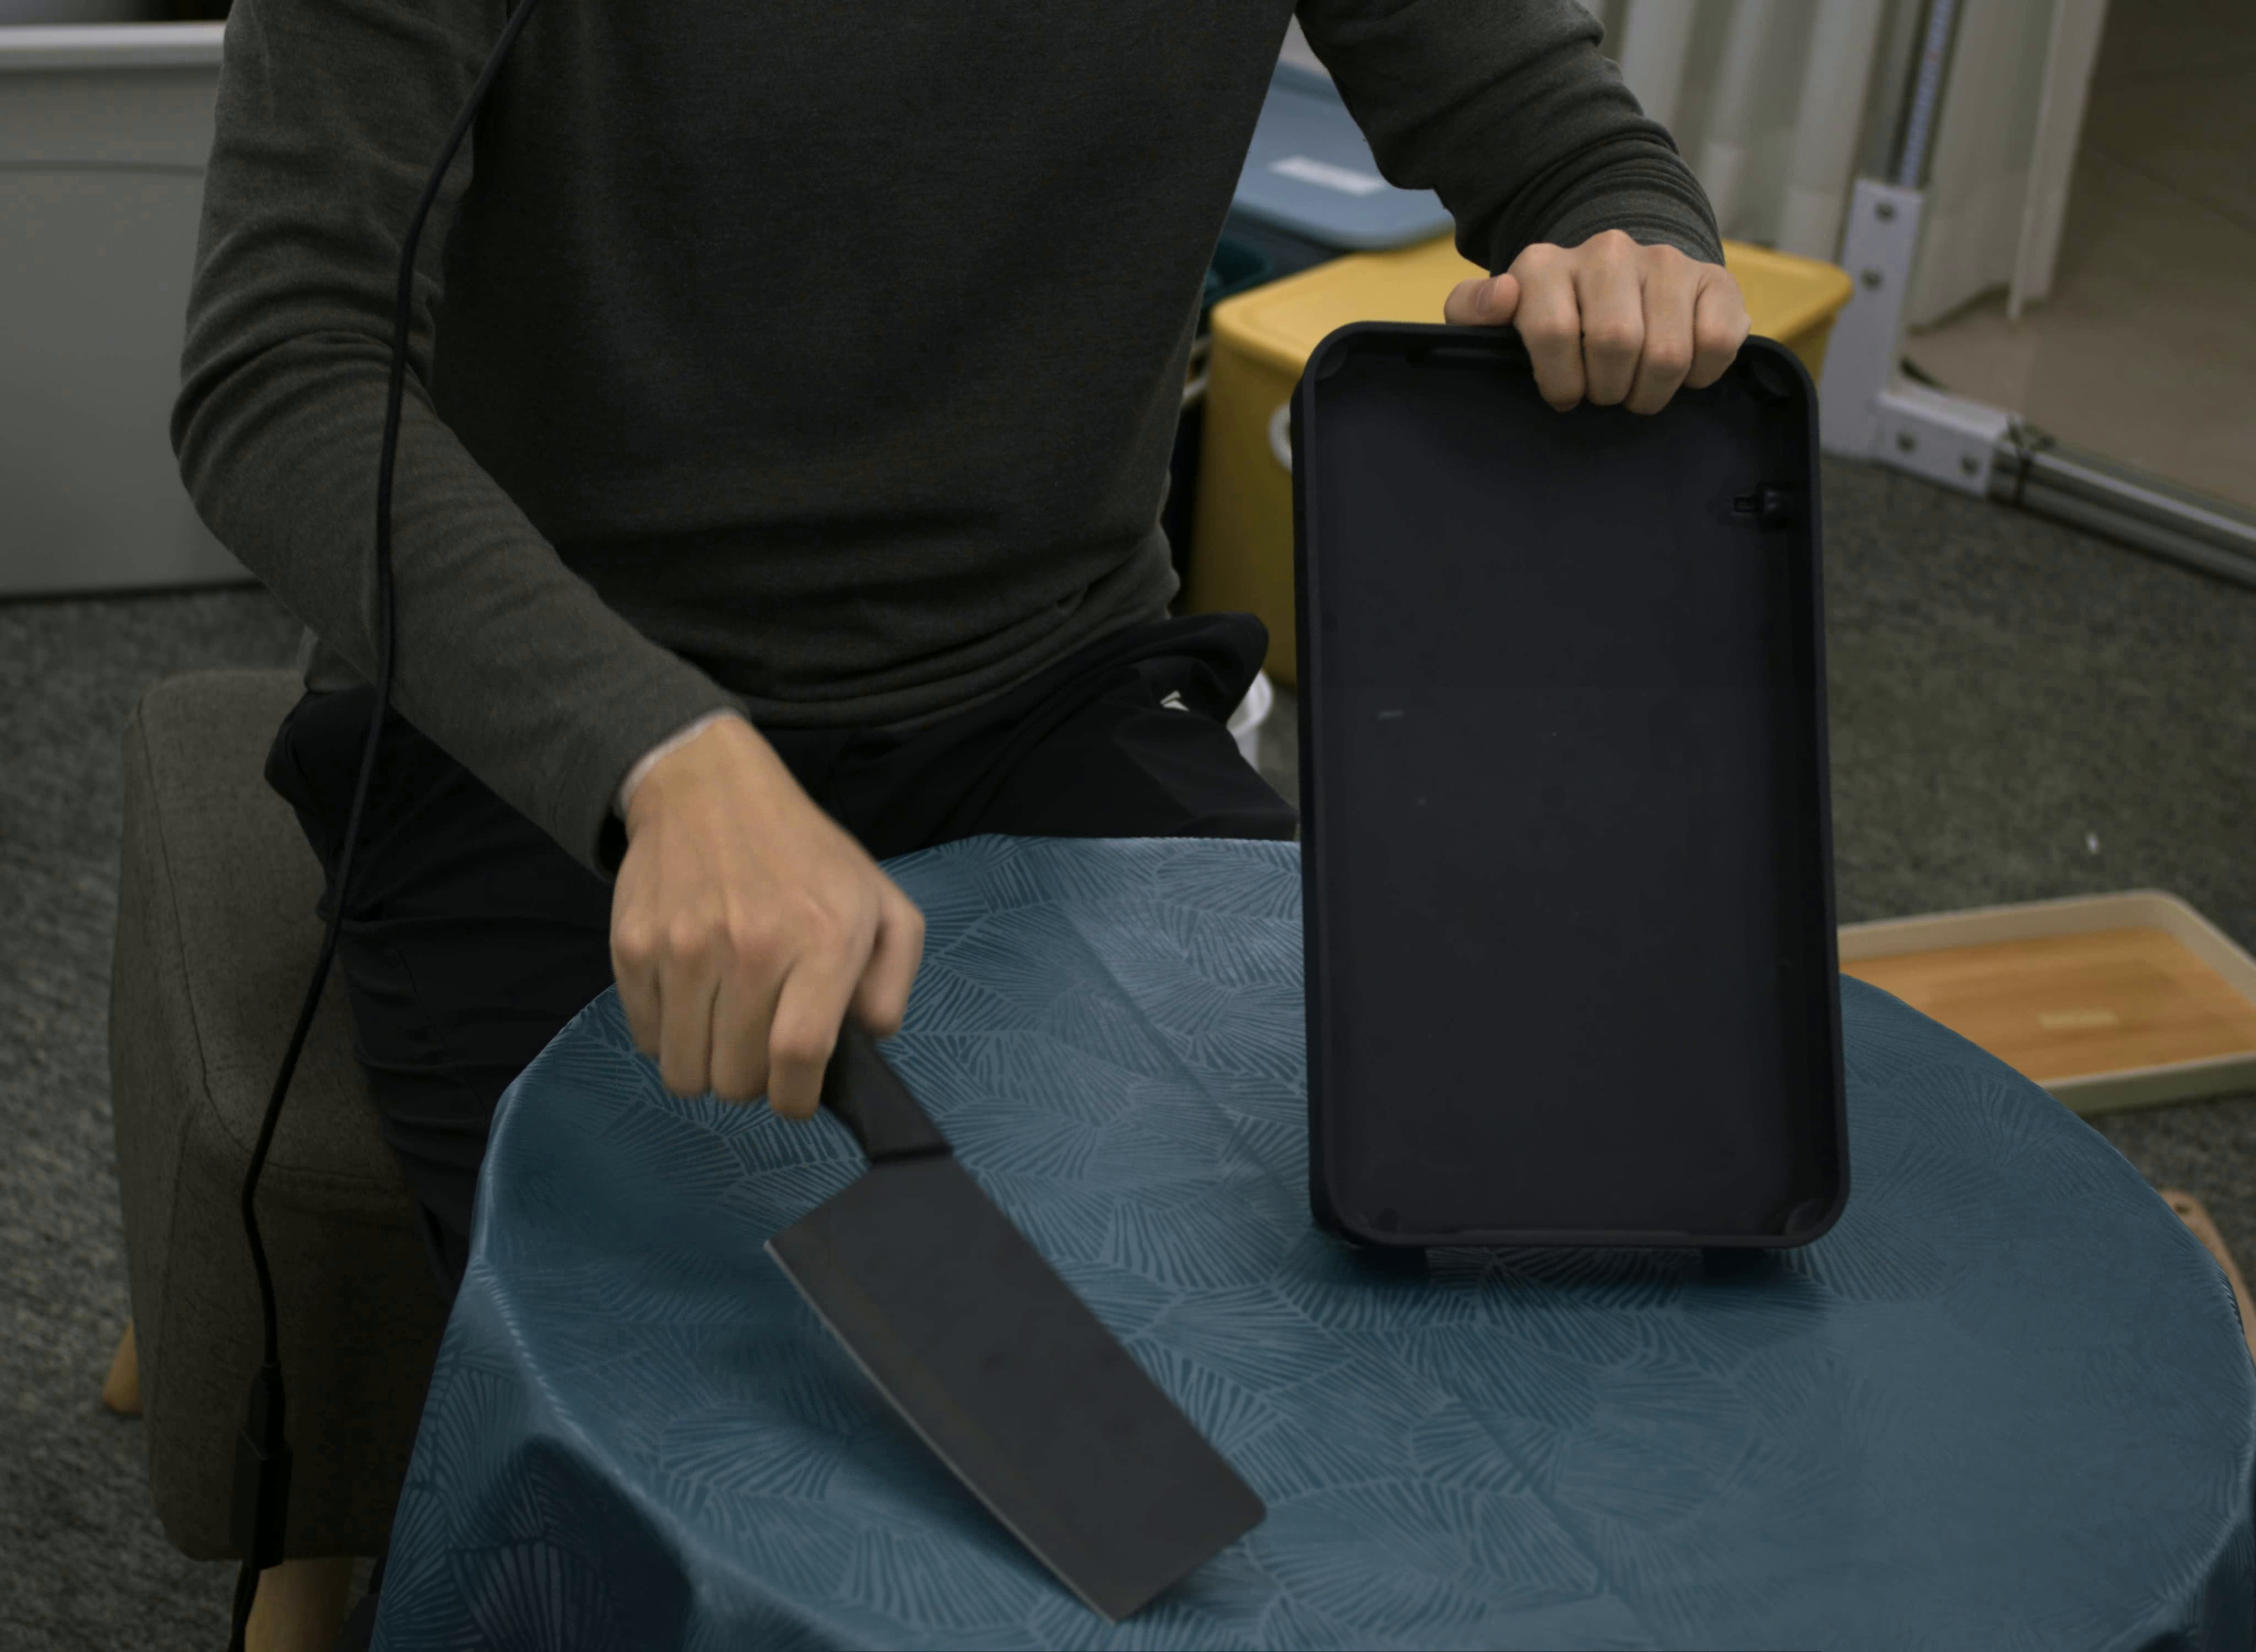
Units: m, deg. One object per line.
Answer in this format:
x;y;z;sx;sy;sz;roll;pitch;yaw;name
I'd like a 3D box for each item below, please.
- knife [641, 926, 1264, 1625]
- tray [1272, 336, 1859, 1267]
-0.069;0.134;1.668;0.080;0.021;0.305;-27;53;-18;knife
0.147;-0.009;1.815;0.183;0.319;0.037;-1;-11;-11;tray
